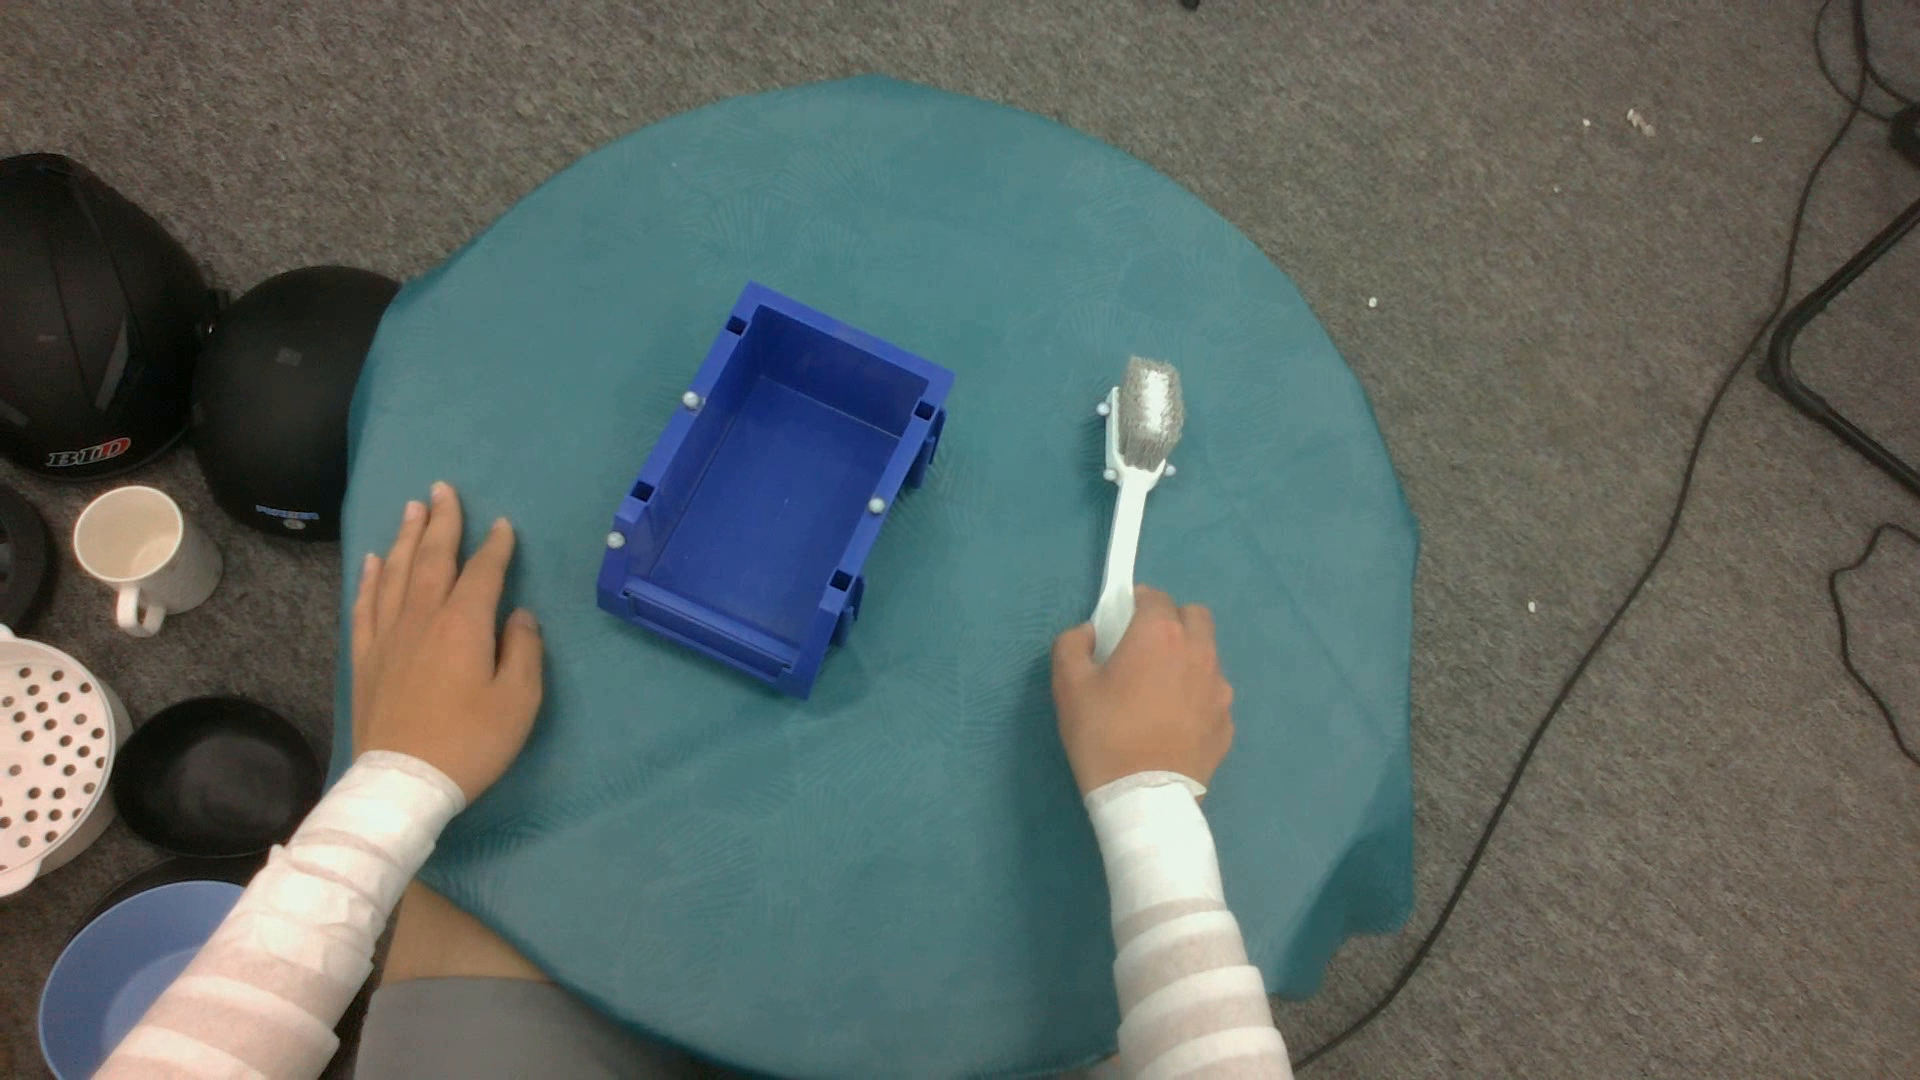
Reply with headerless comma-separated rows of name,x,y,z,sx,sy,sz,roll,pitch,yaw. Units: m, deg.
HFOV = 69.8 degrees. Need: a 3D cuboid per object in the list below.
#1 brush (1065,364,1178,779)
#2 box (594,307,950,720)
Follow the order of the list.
brush,0.091,0.011,0.773,0.034,0.050,0.244,14,66,-9
box,-0.098,-0.012,0.737,0.124,0.081,0.180,25,66,1
